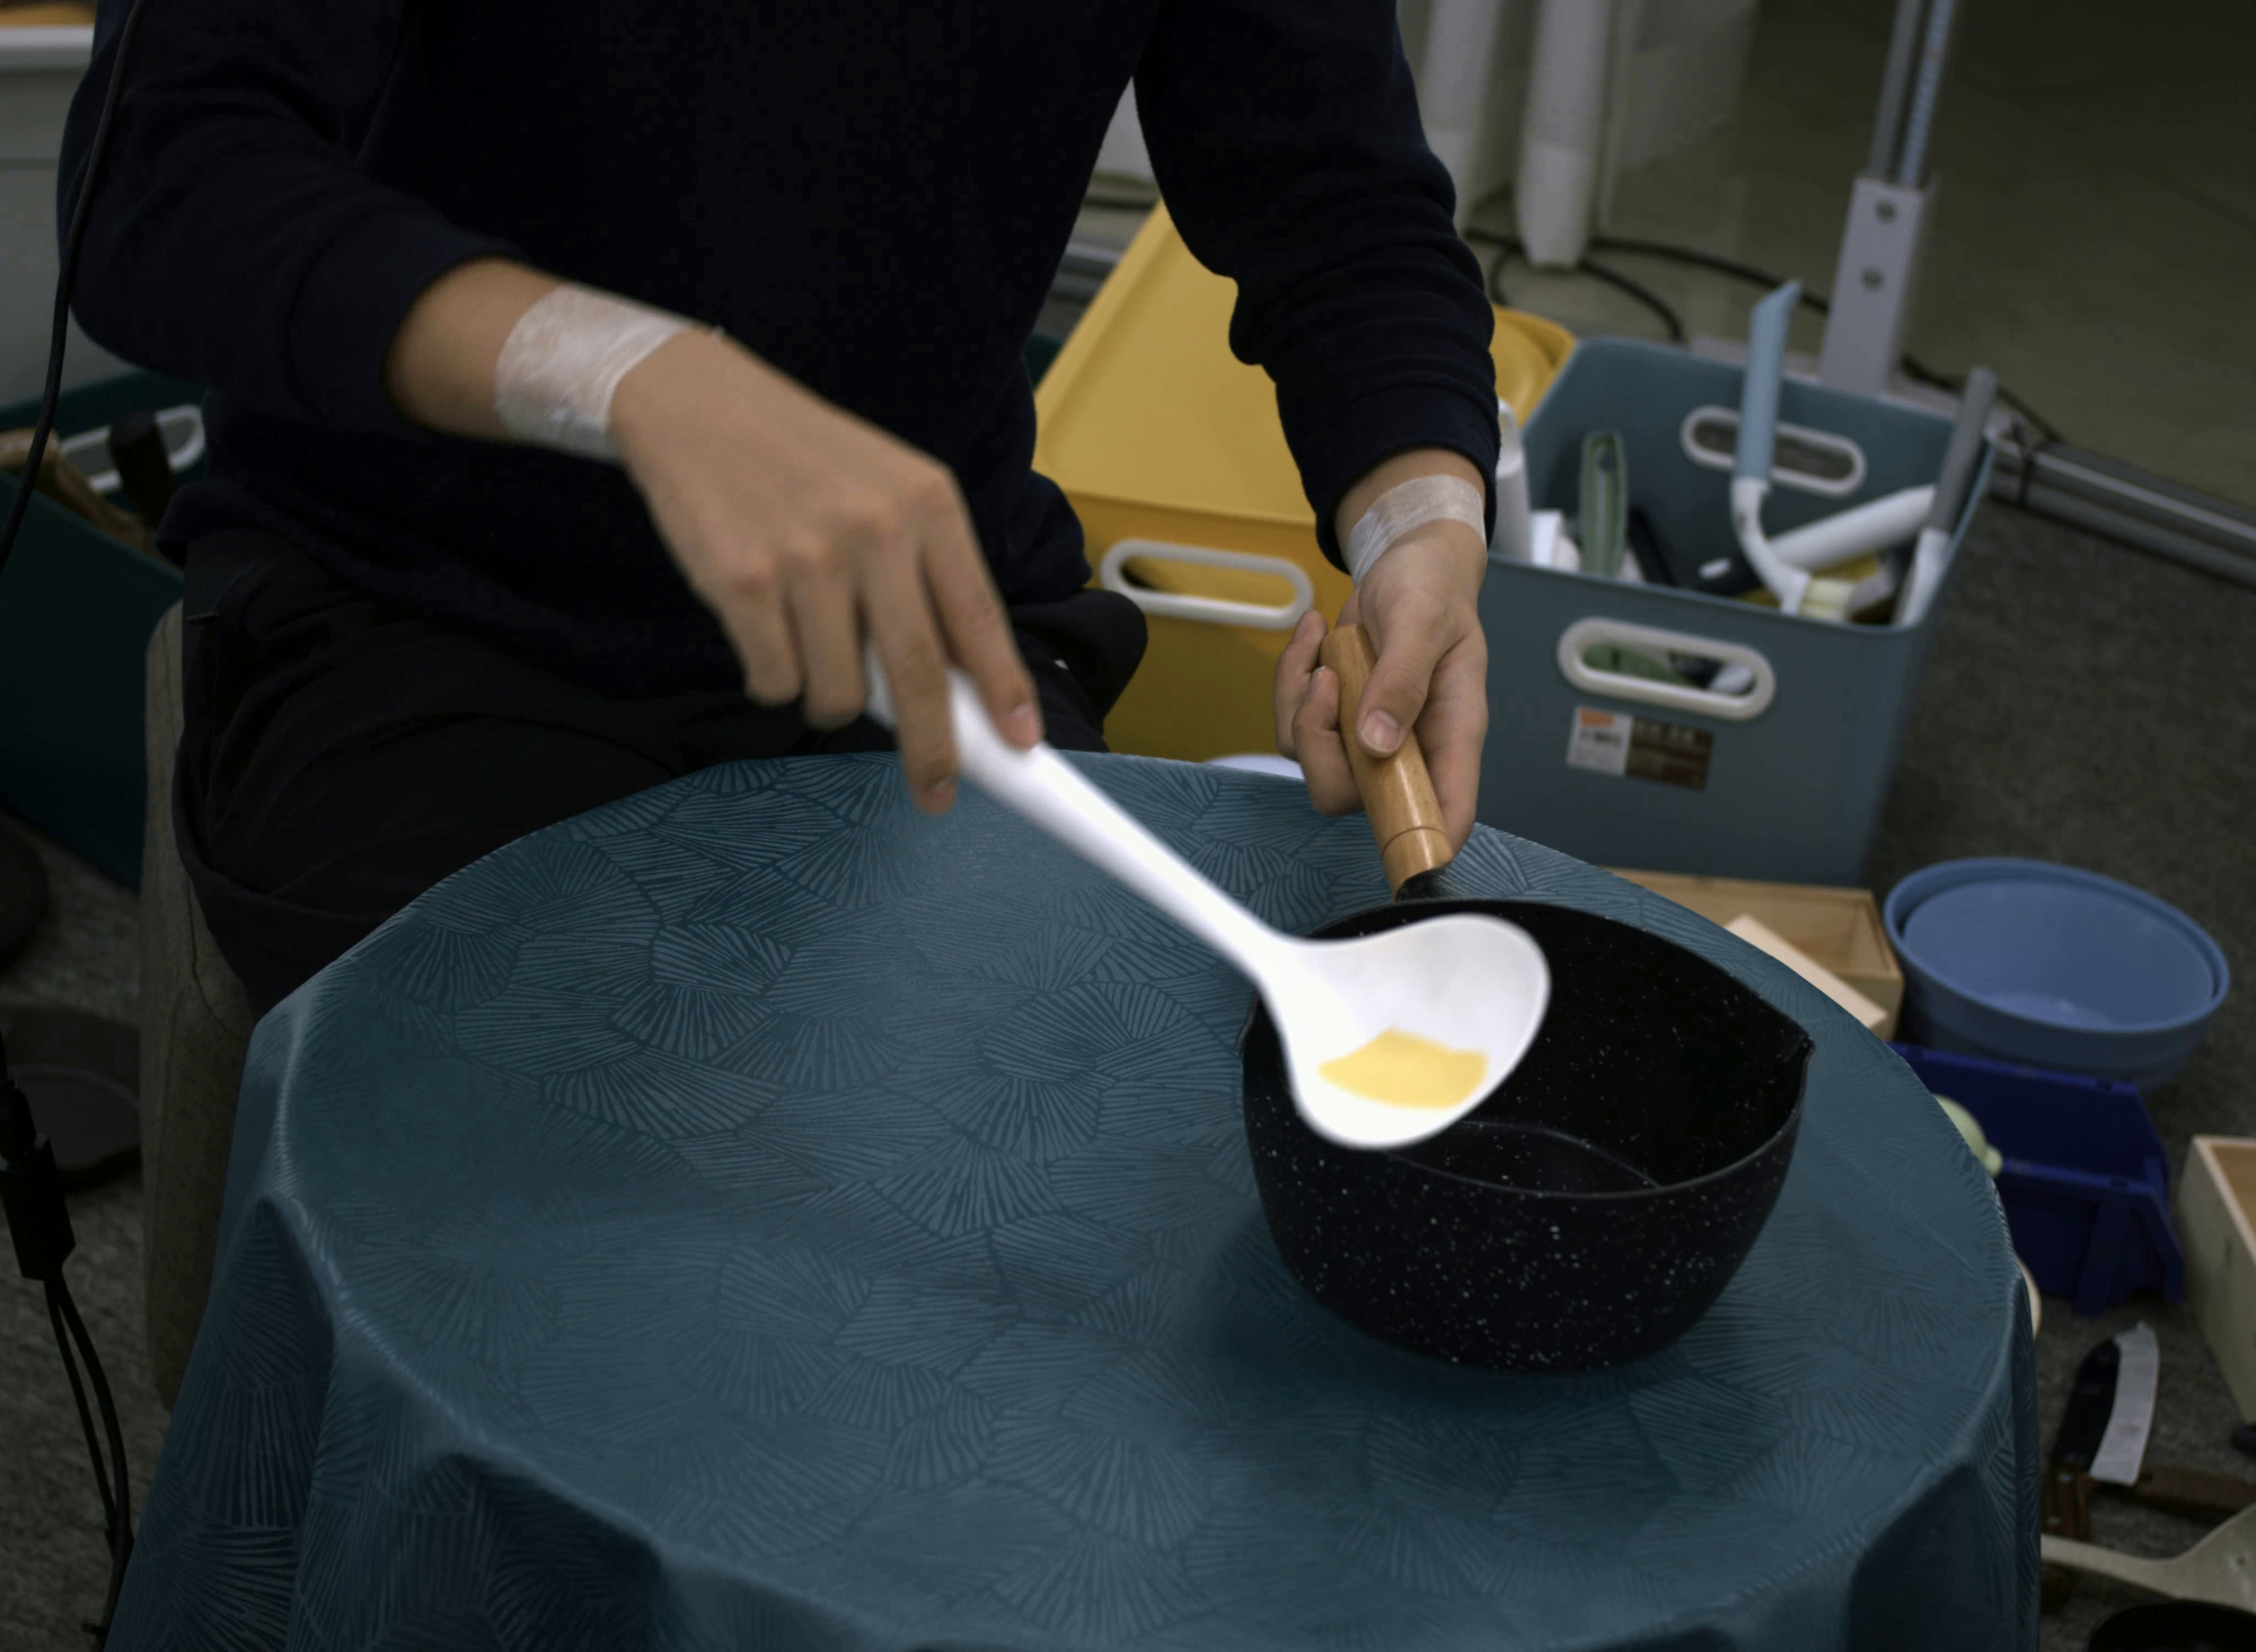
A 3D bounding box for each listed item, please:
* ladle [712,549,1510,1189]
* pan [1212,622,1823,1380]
[{"bbox_3d":[-0.011,0.006,1.662,0.293,0.090,0.069,38,-11,10],"label":"ladle"},{"bbox_3d":[0.110,0.057,1.829,0.206,0.108,0.346,-2,31,-14],"label":"pan"}]
